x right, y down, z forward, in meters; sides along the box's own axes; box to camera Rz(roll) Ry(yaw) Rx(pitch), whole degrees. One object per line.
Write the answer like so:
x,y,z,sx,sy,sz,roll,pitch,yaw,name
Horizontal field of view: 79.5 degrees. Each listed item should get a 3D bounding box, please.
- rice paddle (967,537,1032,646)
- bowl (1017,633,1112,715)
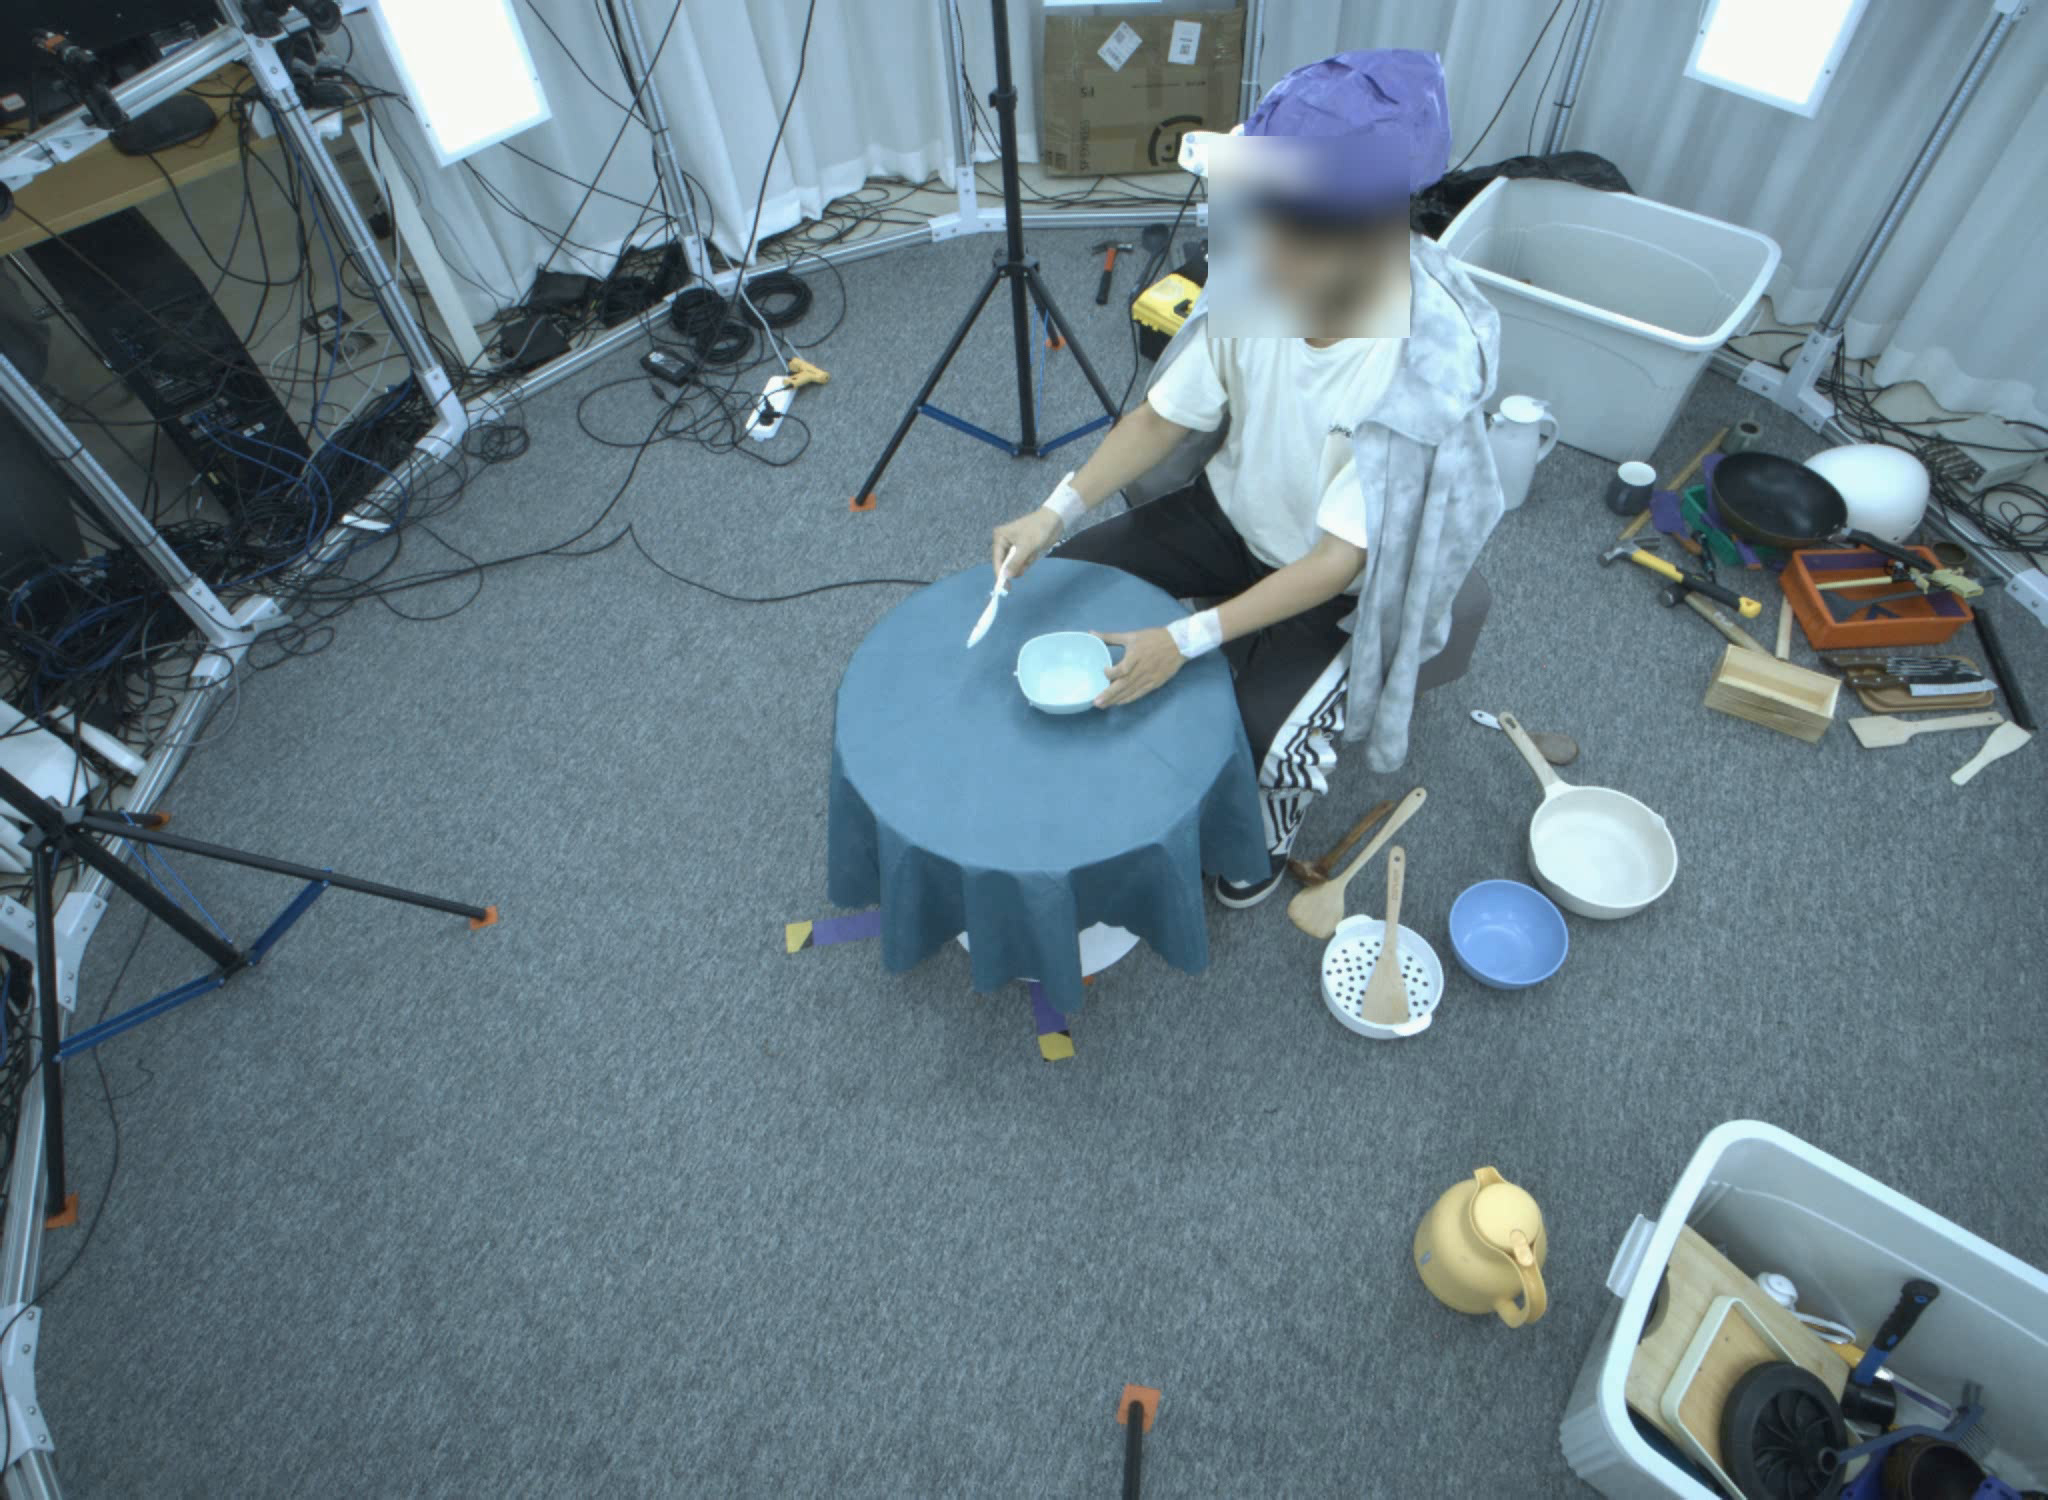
-0.043,-0.238,1.843,0.029,0.068,0.205,29,63,-4,rice paddle
0.062,-0.104,1.827,0.151,0.059,0.150,-1,54,3,bowl
